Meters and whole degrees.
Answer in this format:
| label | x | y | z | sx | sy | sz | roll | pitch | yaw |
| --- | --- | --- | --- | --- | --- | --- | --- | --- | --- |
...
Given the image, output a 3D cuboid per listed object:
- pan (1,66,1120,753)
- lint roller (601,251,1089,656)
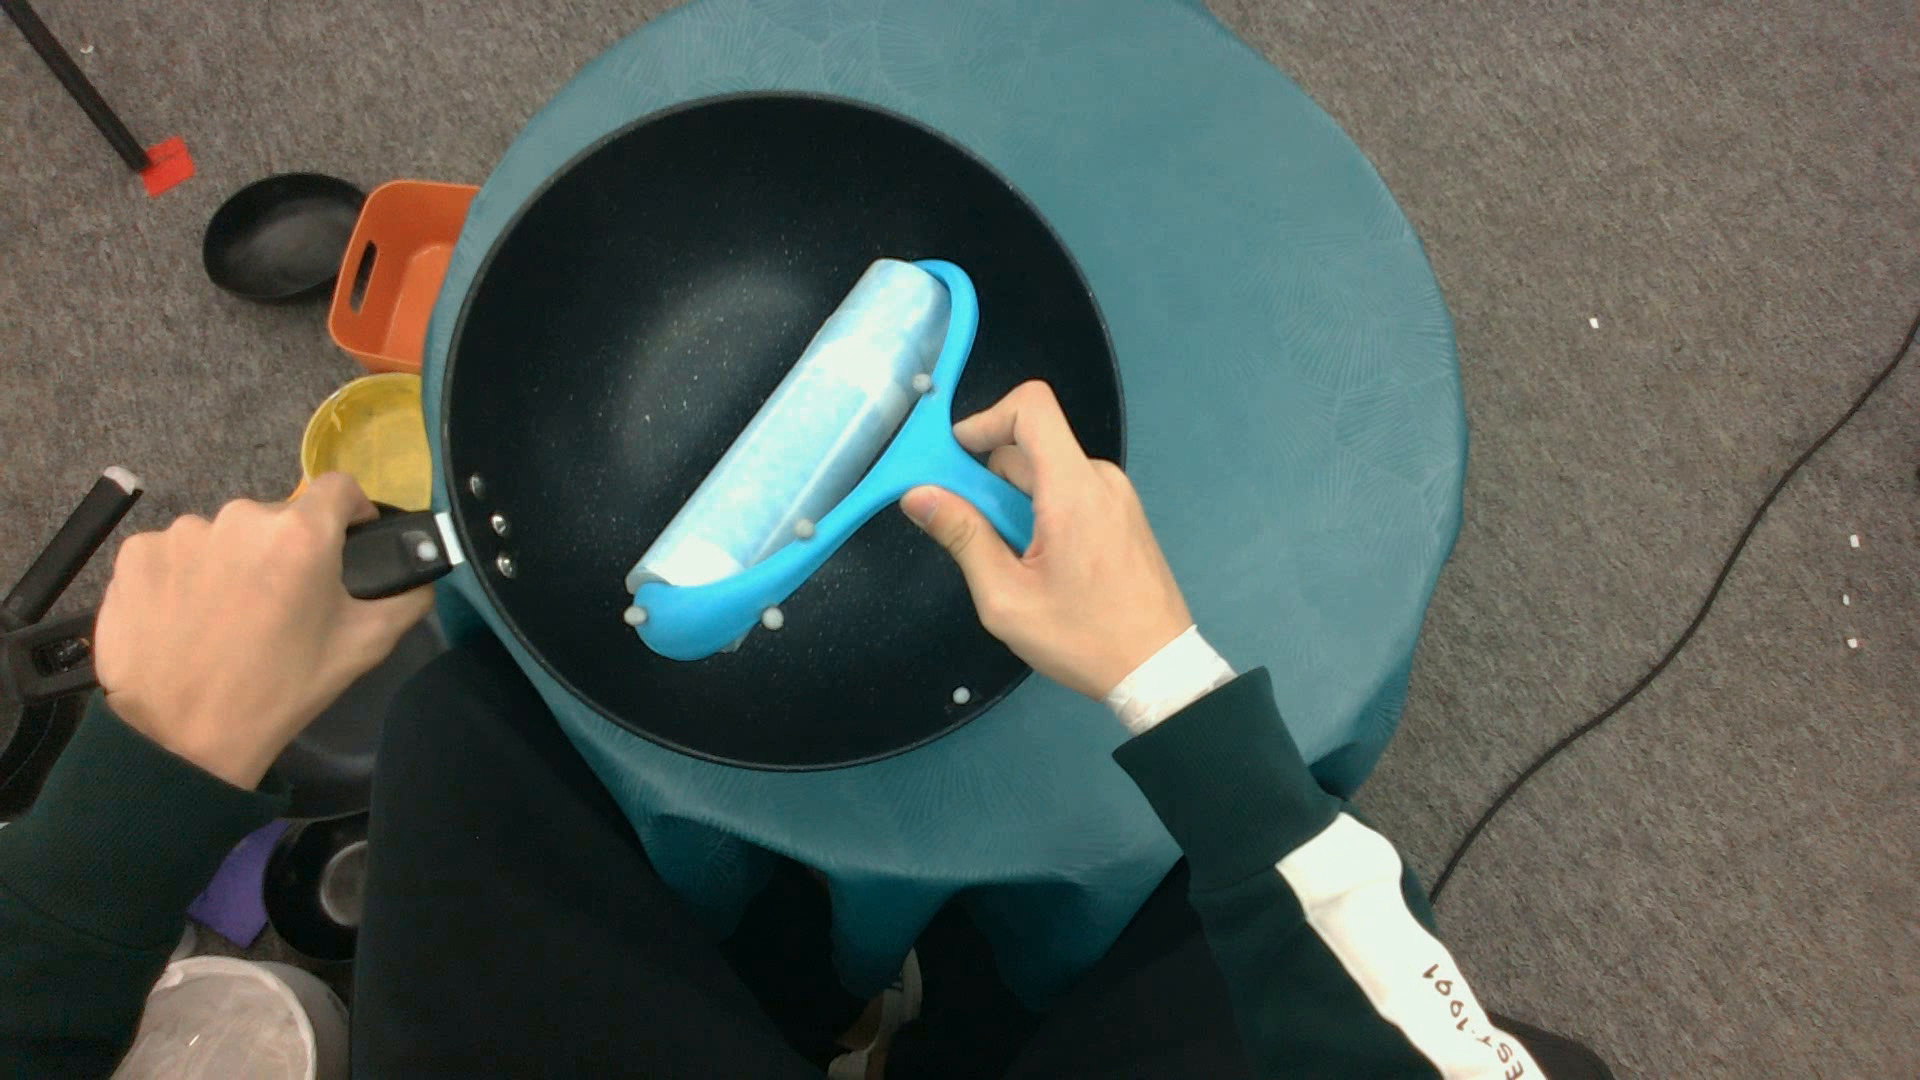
| label | x | y | z | sx | sy | sz | roll | pitch | yaw |
| --- | --- | --- | --- | --- | --- | --- | --- | --- | --- |
| pan | -0.154 | -0.031 | 0.622 | 0.478 | 0.111 | 0.310 | -21 | 96 | -17 |
| lint roller | -0.027 | -0.026 | 0.590 | 0.180 | 0.067 | 0.230 | 19 | 56 | 13 |
